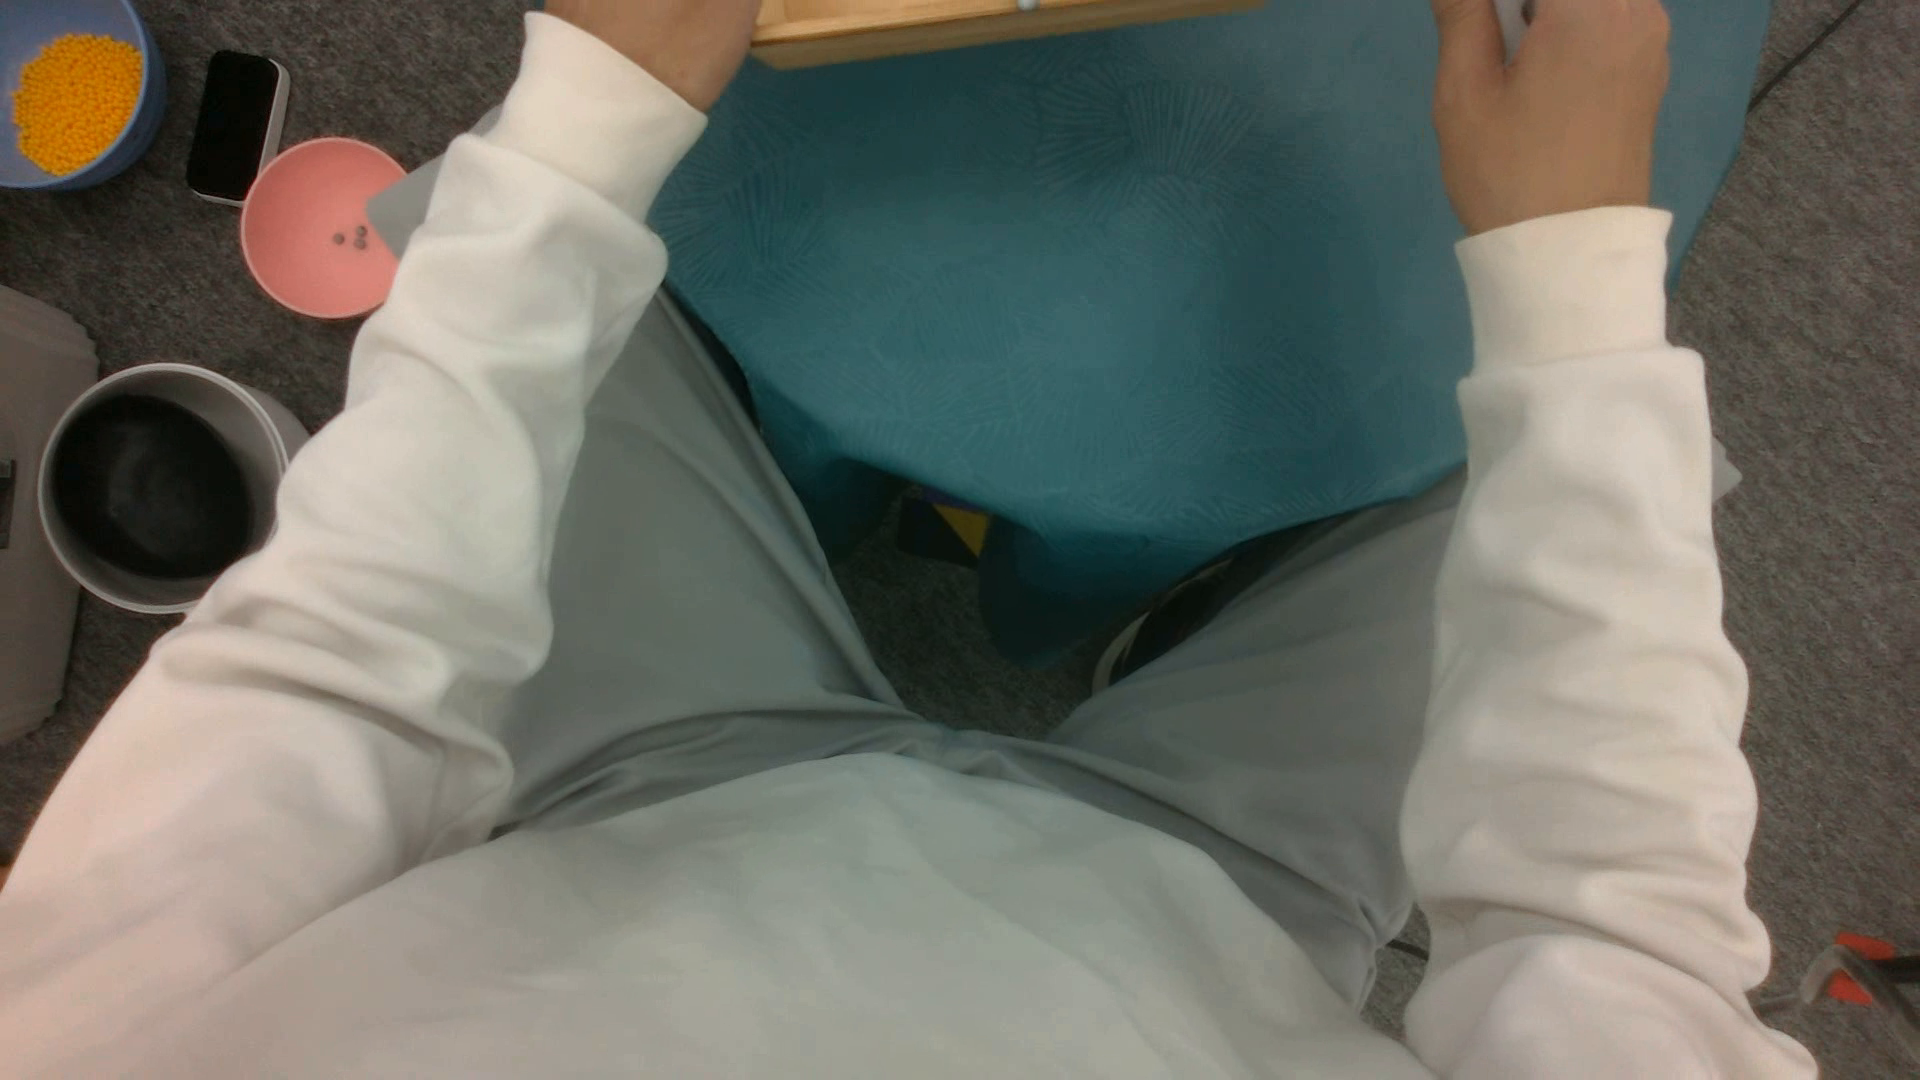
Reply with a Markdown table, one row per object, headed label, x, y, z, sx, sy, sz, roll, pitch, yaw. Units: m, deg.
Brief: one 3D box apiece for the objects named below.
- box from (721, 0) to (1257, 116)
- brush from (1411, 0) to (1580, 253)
| label | x | y | z | sx | sy | sz | roll | pitch | yaw |
| --- | --- | --- | --- | --- | --- | --- | --- | --- | --- |
| box | 0.007 | -0.249 | 0.573 | 0.211 | 0.080 | 0.107 | -8 | 102 | 5 |
| brush | 0.181 | -0.232 | 0.544 | 0.068 | 0.056 | 0.266 | -32 | 117 | 4 |
